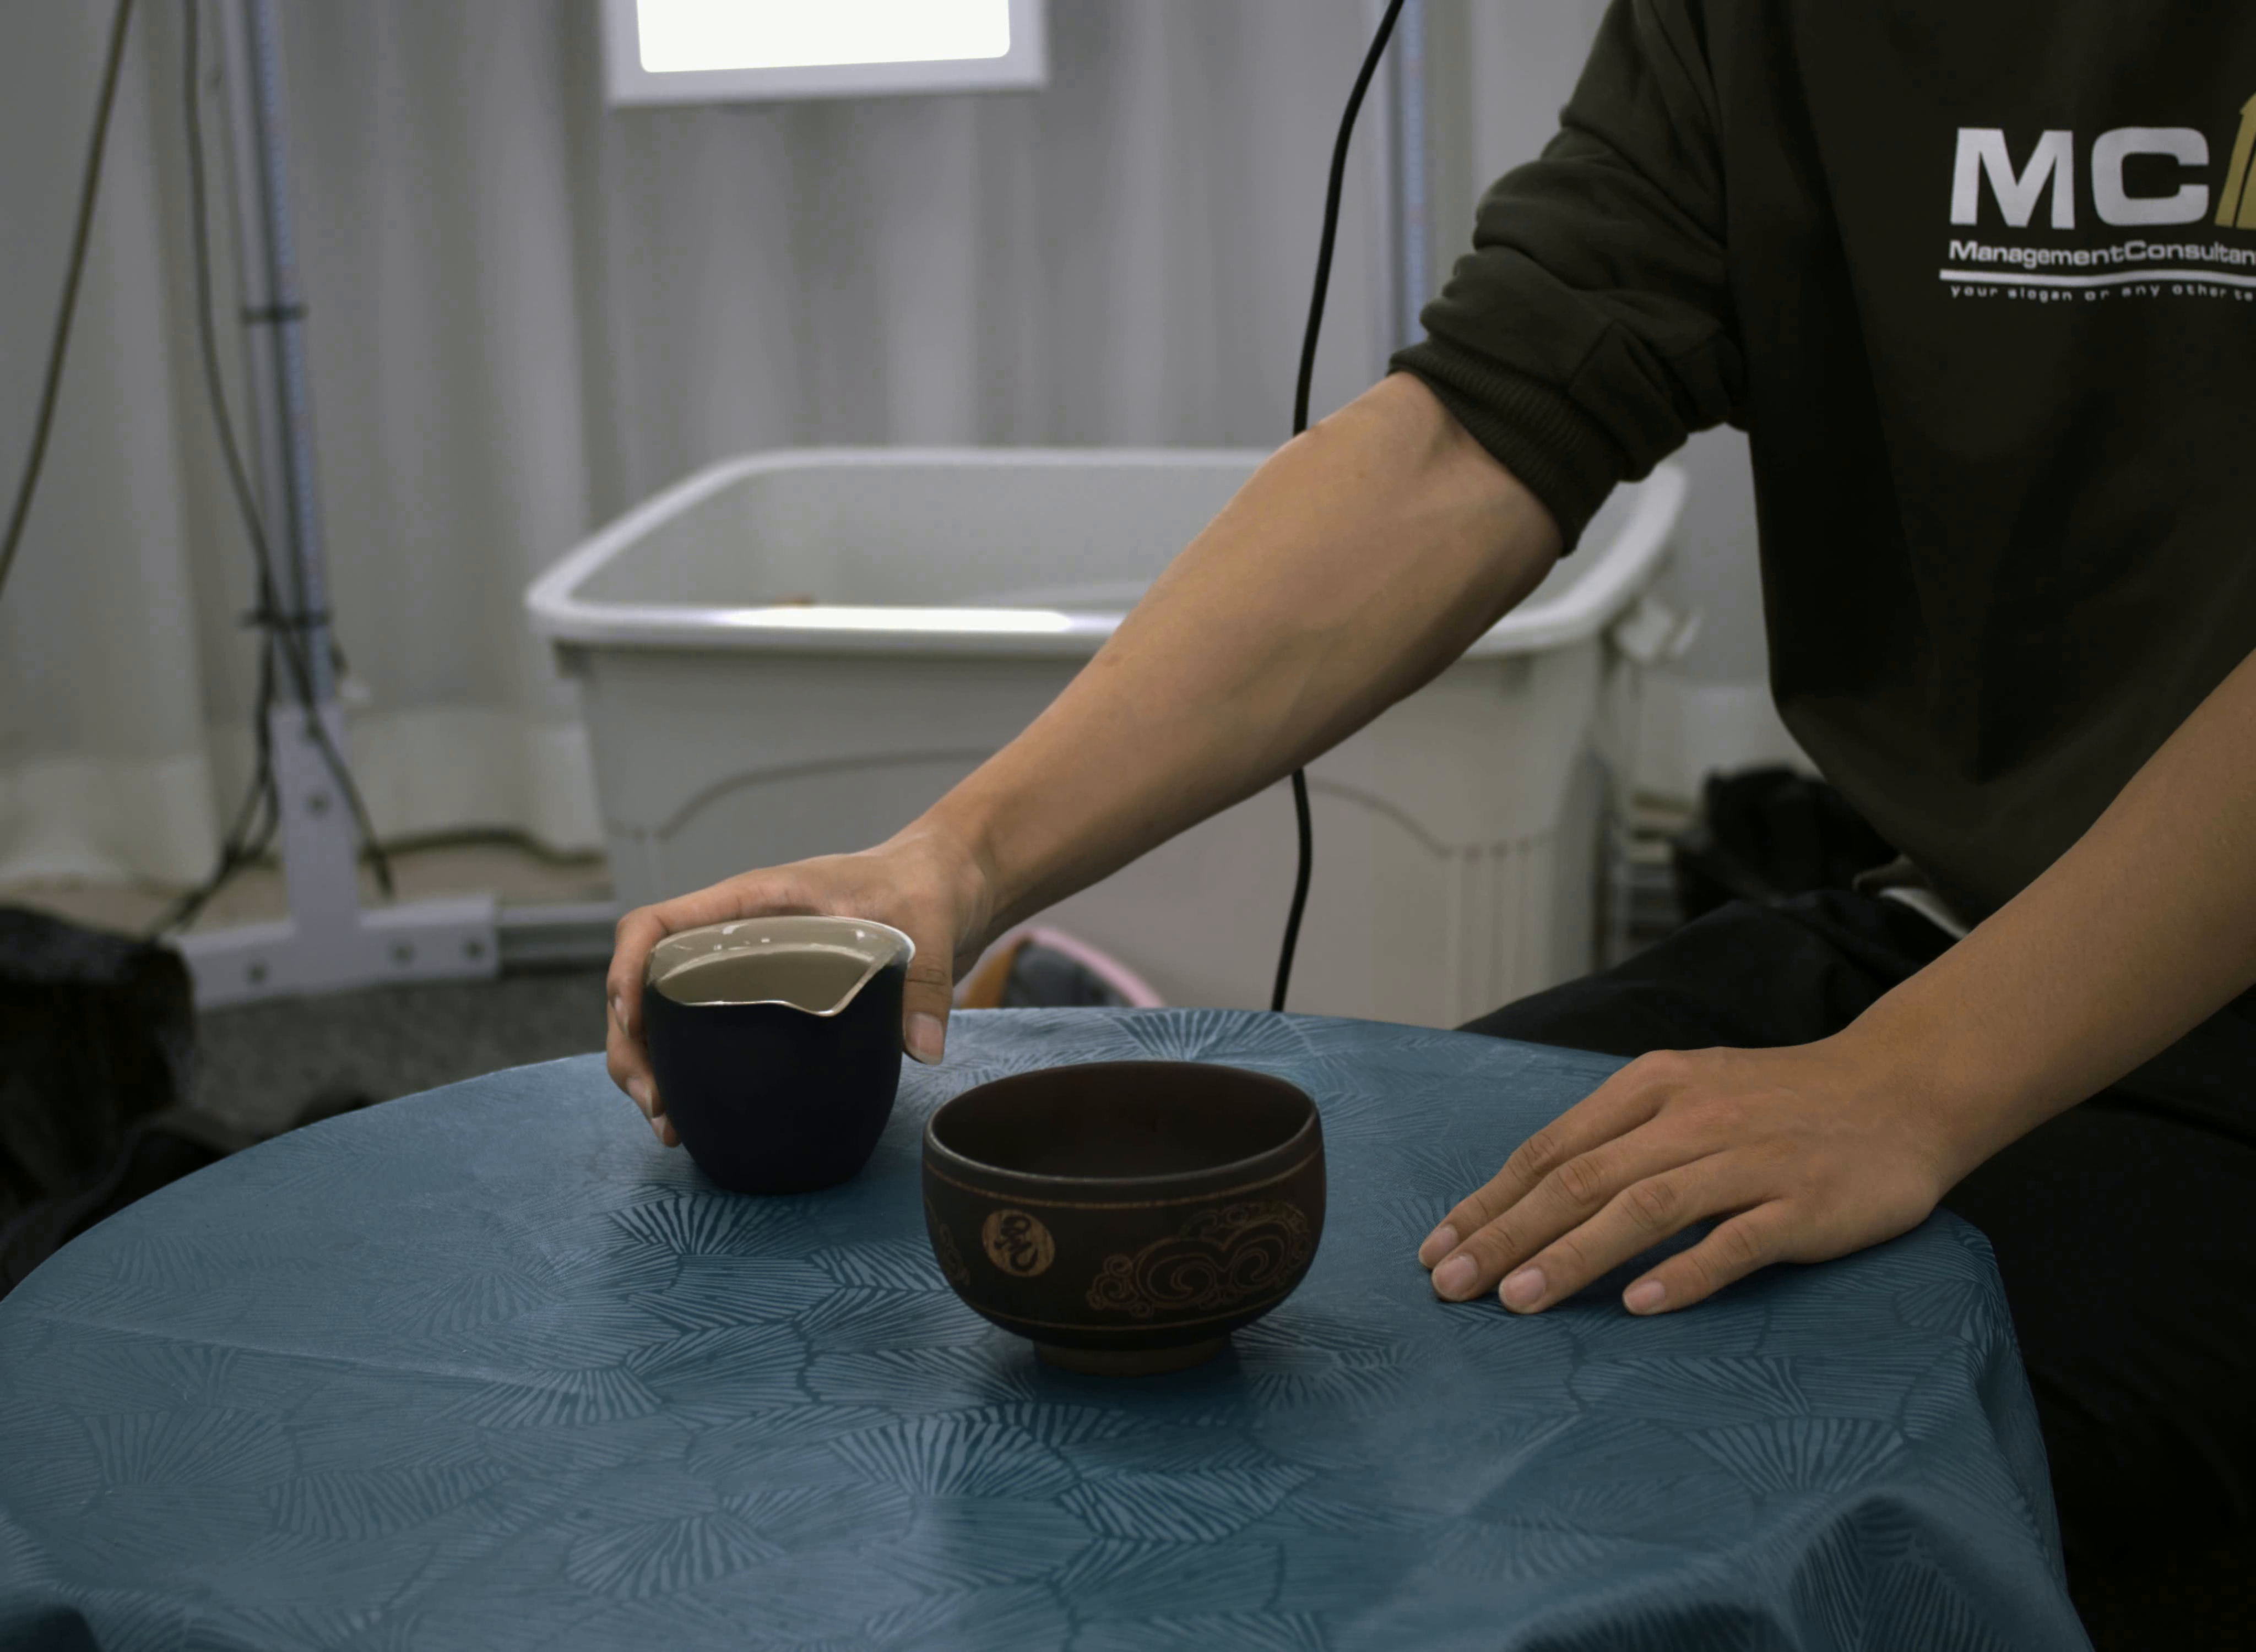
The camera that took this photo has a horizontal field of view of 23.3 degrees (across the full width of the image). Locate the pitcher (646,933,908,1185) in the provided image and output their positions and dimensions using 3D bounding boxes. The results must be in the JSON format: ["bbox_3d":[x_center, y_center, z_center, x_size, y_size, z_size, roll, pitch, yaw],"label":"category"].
[{"bbox_3d":[-0.109,0.074,1.741,0.083,0.071,0.097,-7,15,-16],"label":"pitcher"}]

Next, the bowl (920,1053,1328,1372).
[{"bbox_3d":[0.000,0.115,1.578,0.117,0.069,0.119,-5,15,1],"label":"bowl"}]
